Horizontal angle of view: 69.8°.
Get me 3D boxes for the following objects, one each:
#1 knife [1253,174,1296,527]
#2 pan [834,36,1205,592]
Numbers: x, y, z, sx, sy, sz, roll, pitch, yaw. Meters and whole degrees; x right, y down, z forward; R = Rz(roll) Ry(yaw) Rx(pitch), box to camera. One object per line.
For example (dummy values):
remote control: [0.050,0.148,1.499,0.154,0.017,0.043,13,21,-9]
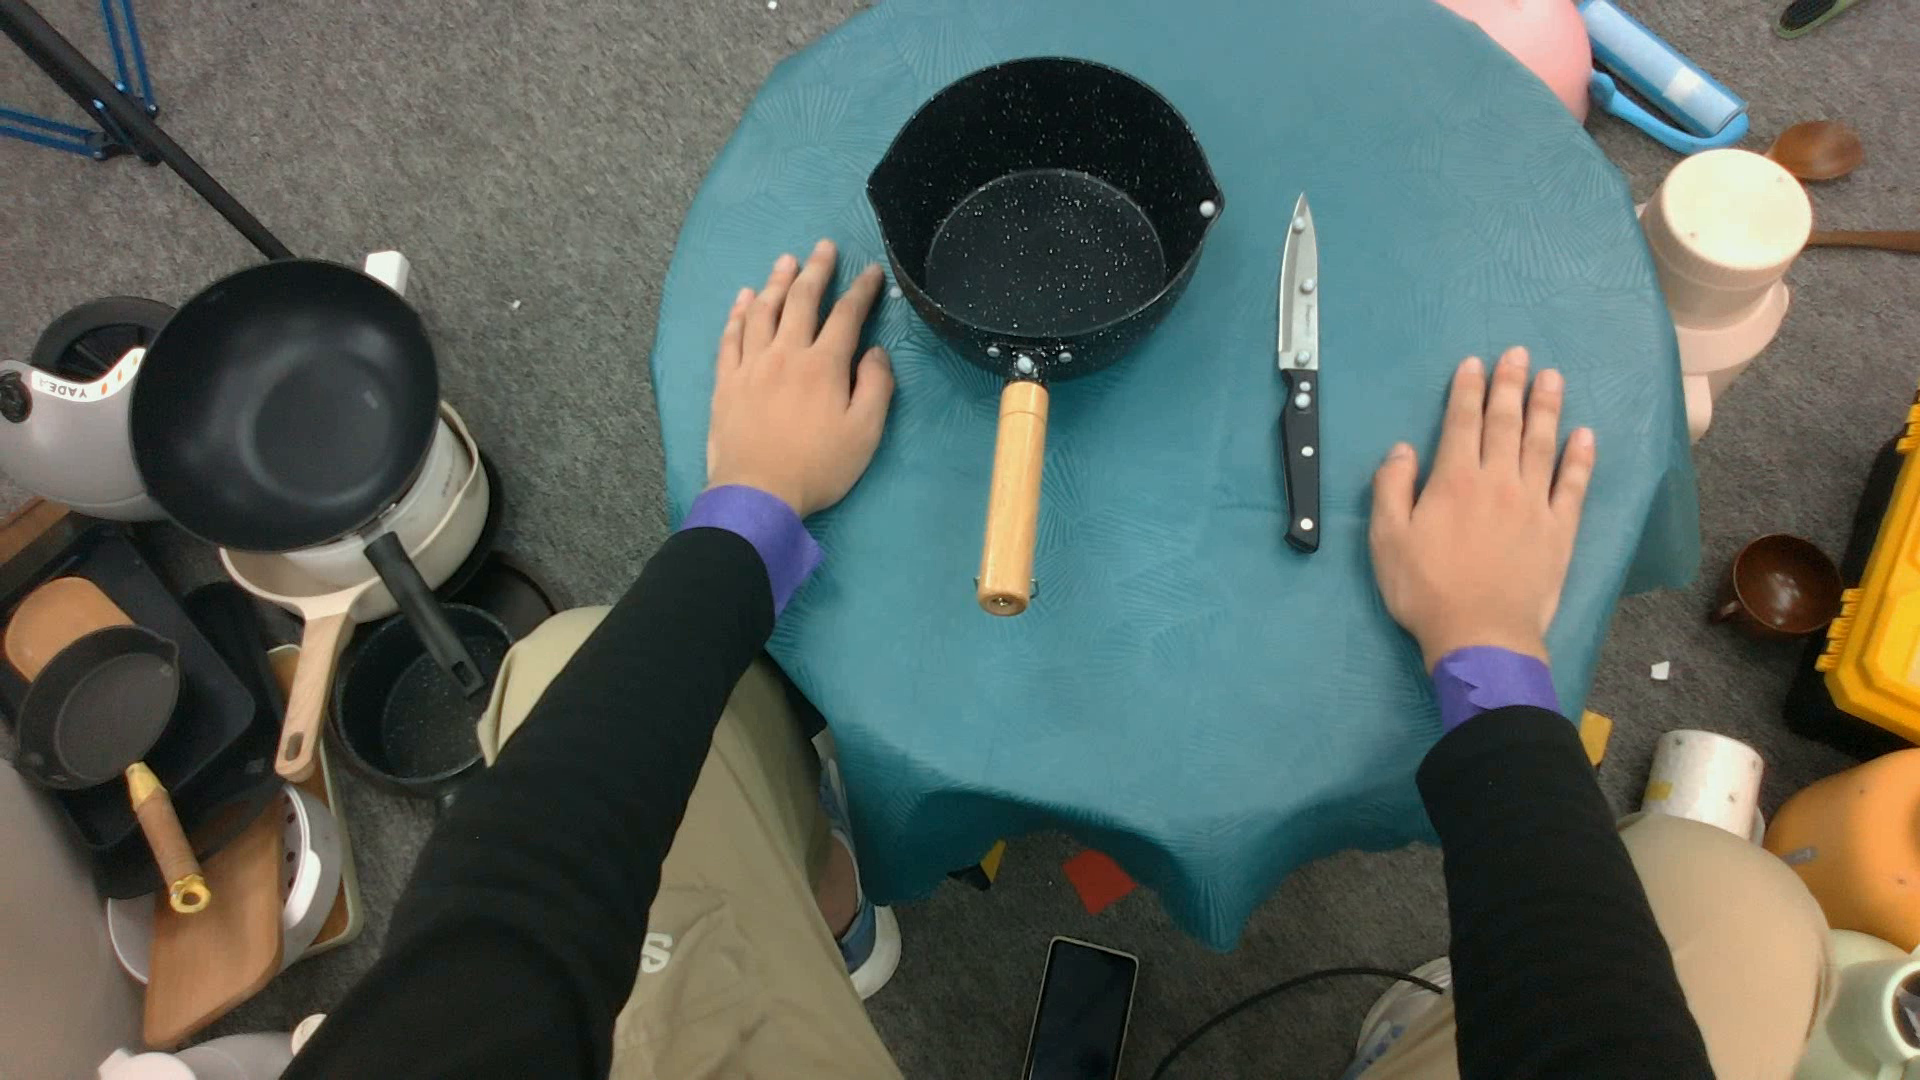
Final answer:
knife: [0.184,-0.117,0.803,0.024,0.016,0.239,1,66,8]
pan: [0.028,-0.120,0.762,0.207,0.108,0.344,3,68,4]
